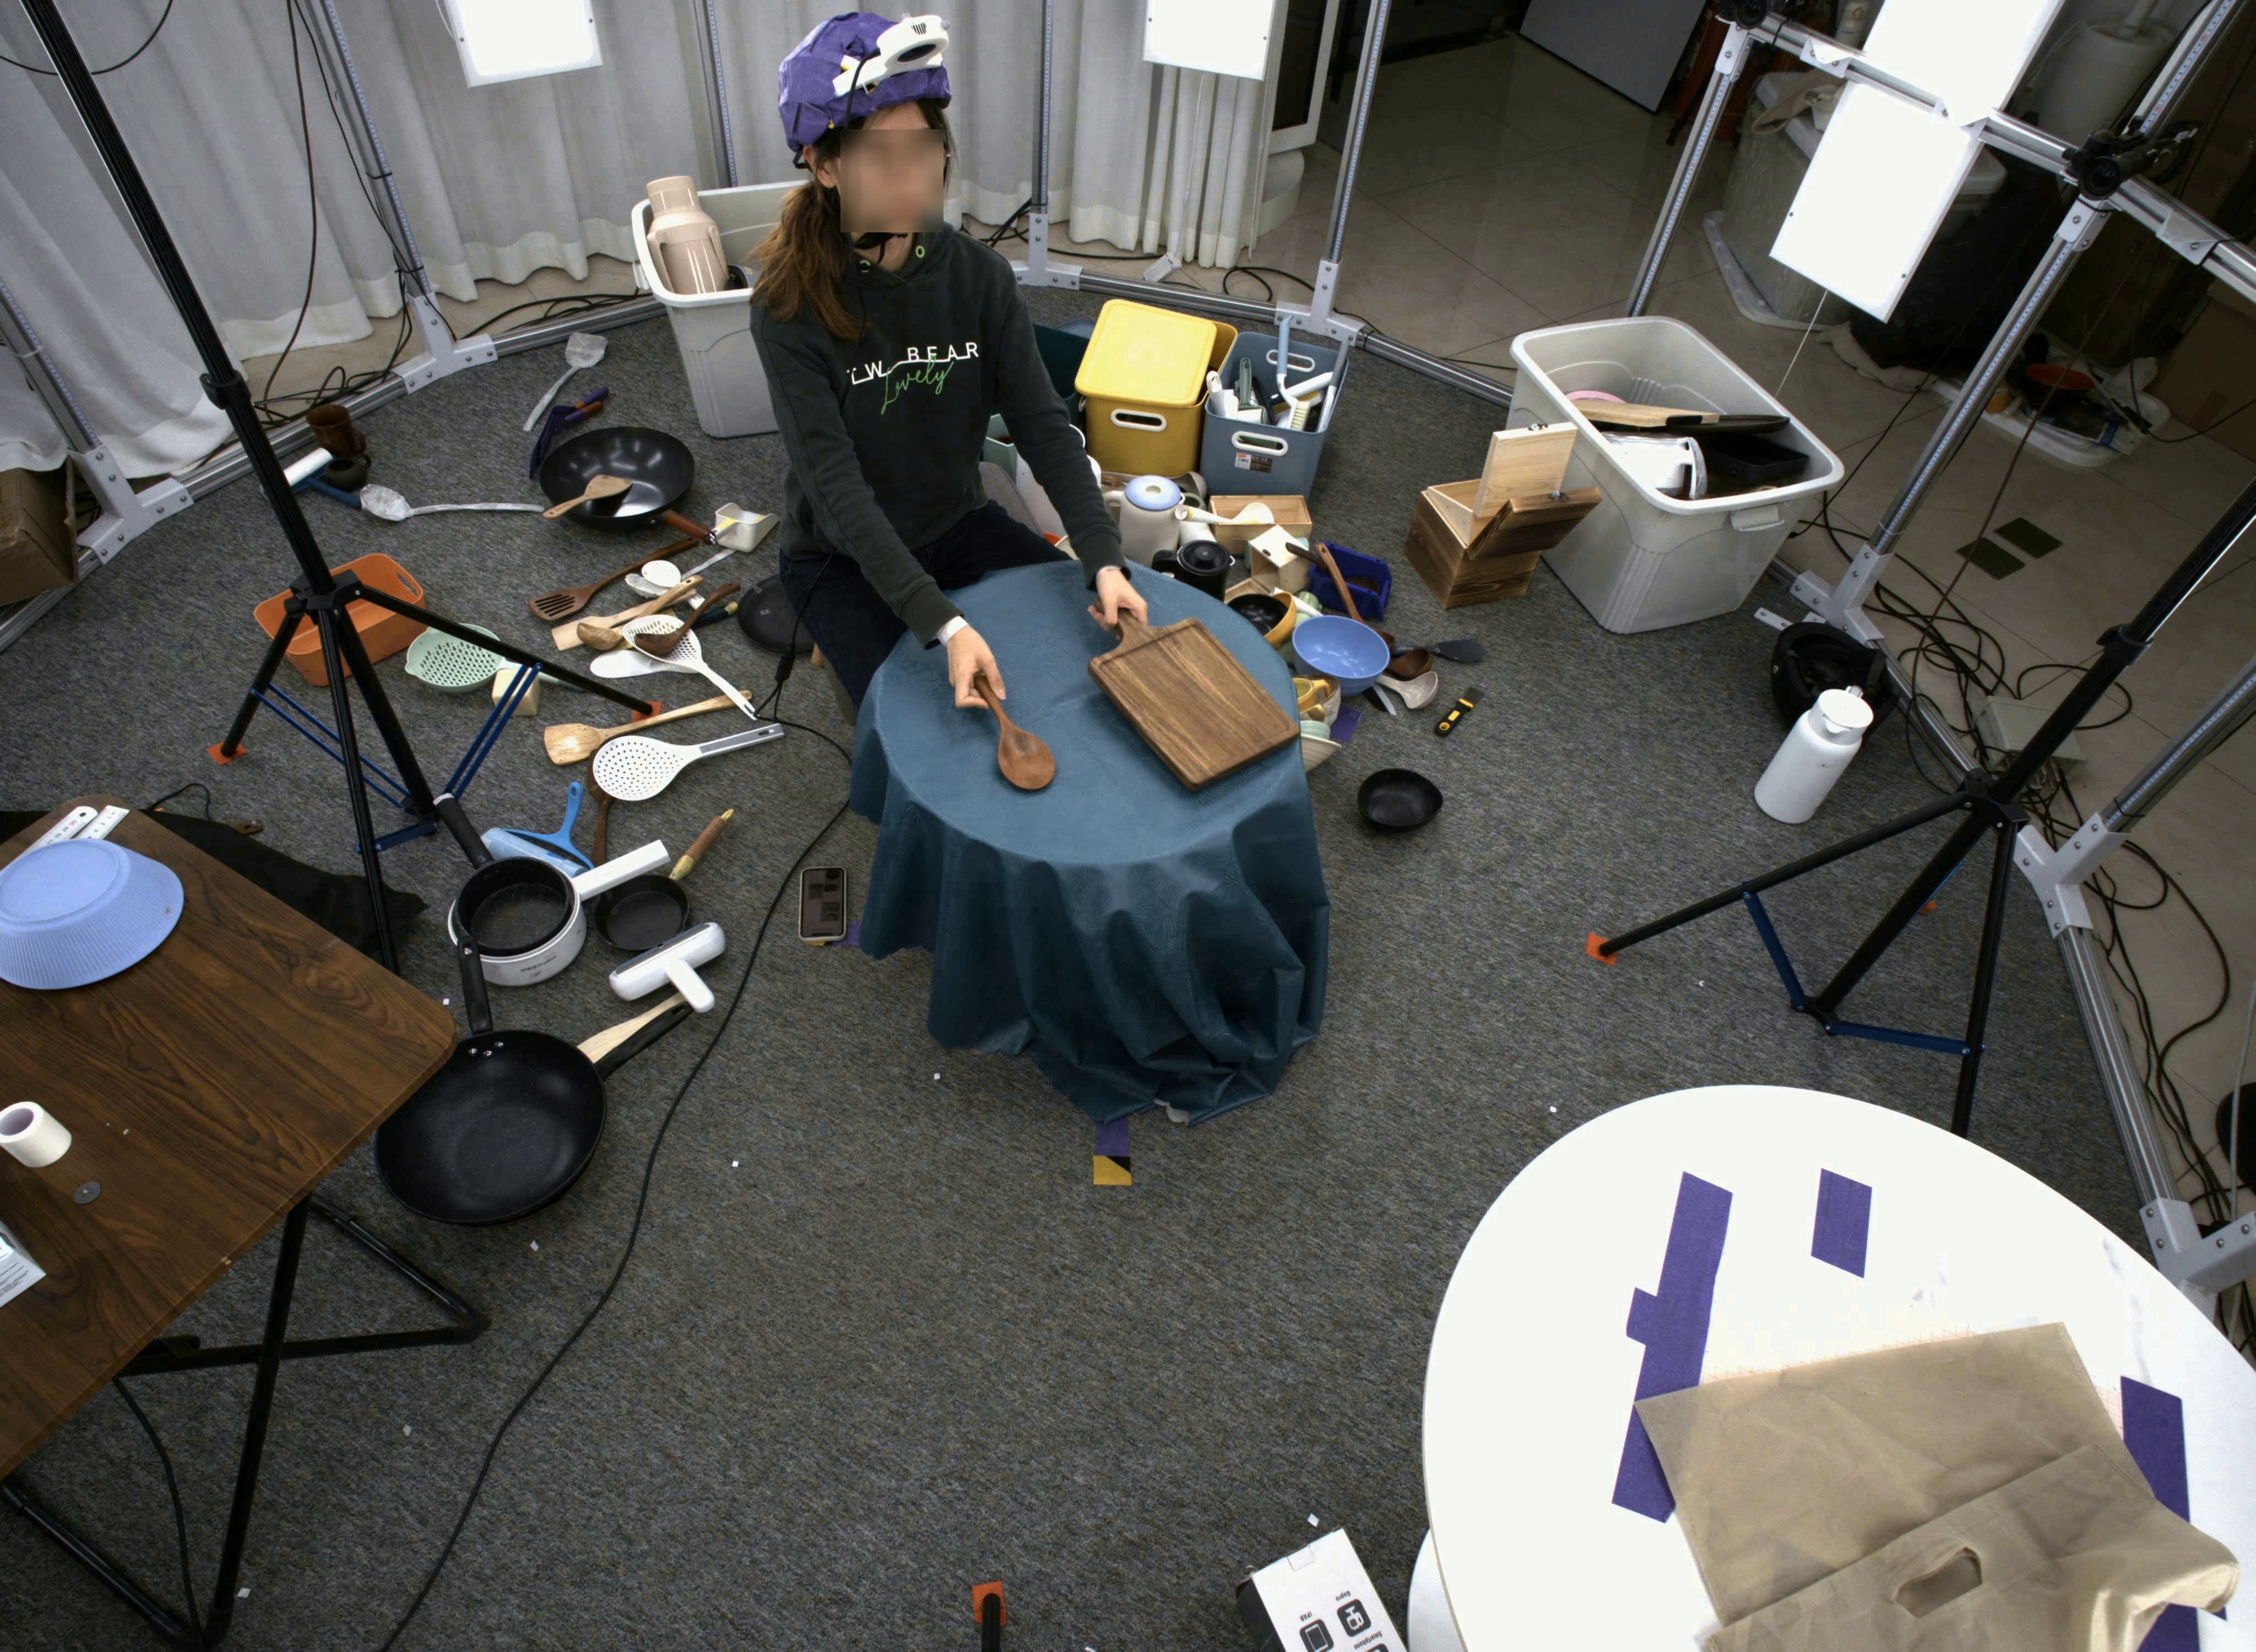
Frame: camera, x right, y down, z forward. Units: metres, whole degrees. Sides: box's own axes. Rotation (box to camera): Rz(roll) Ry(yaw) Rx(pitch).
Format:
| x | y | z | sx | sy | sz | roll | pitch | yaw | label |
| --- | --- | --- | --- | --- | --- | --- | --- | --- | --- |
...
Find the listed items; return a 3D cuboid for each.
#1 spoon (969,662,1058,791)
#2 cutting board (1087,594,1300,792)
| x | y | z | sx | sy | sz | roll | pitch | yaw | label |
| --- | --- | --- | --- | --- | --- | --- | --- | --- | --- |
| -0.164 | -0.137 | 1.755 | 0.075 | 0.017 | 0.219 | -22 | 68 | -18 | spoon |
| 0.063 | -0.212 | 1.822 | 0.202 | 0.023 | 0.358 | -26 | 61 | -26 | cutting board |
